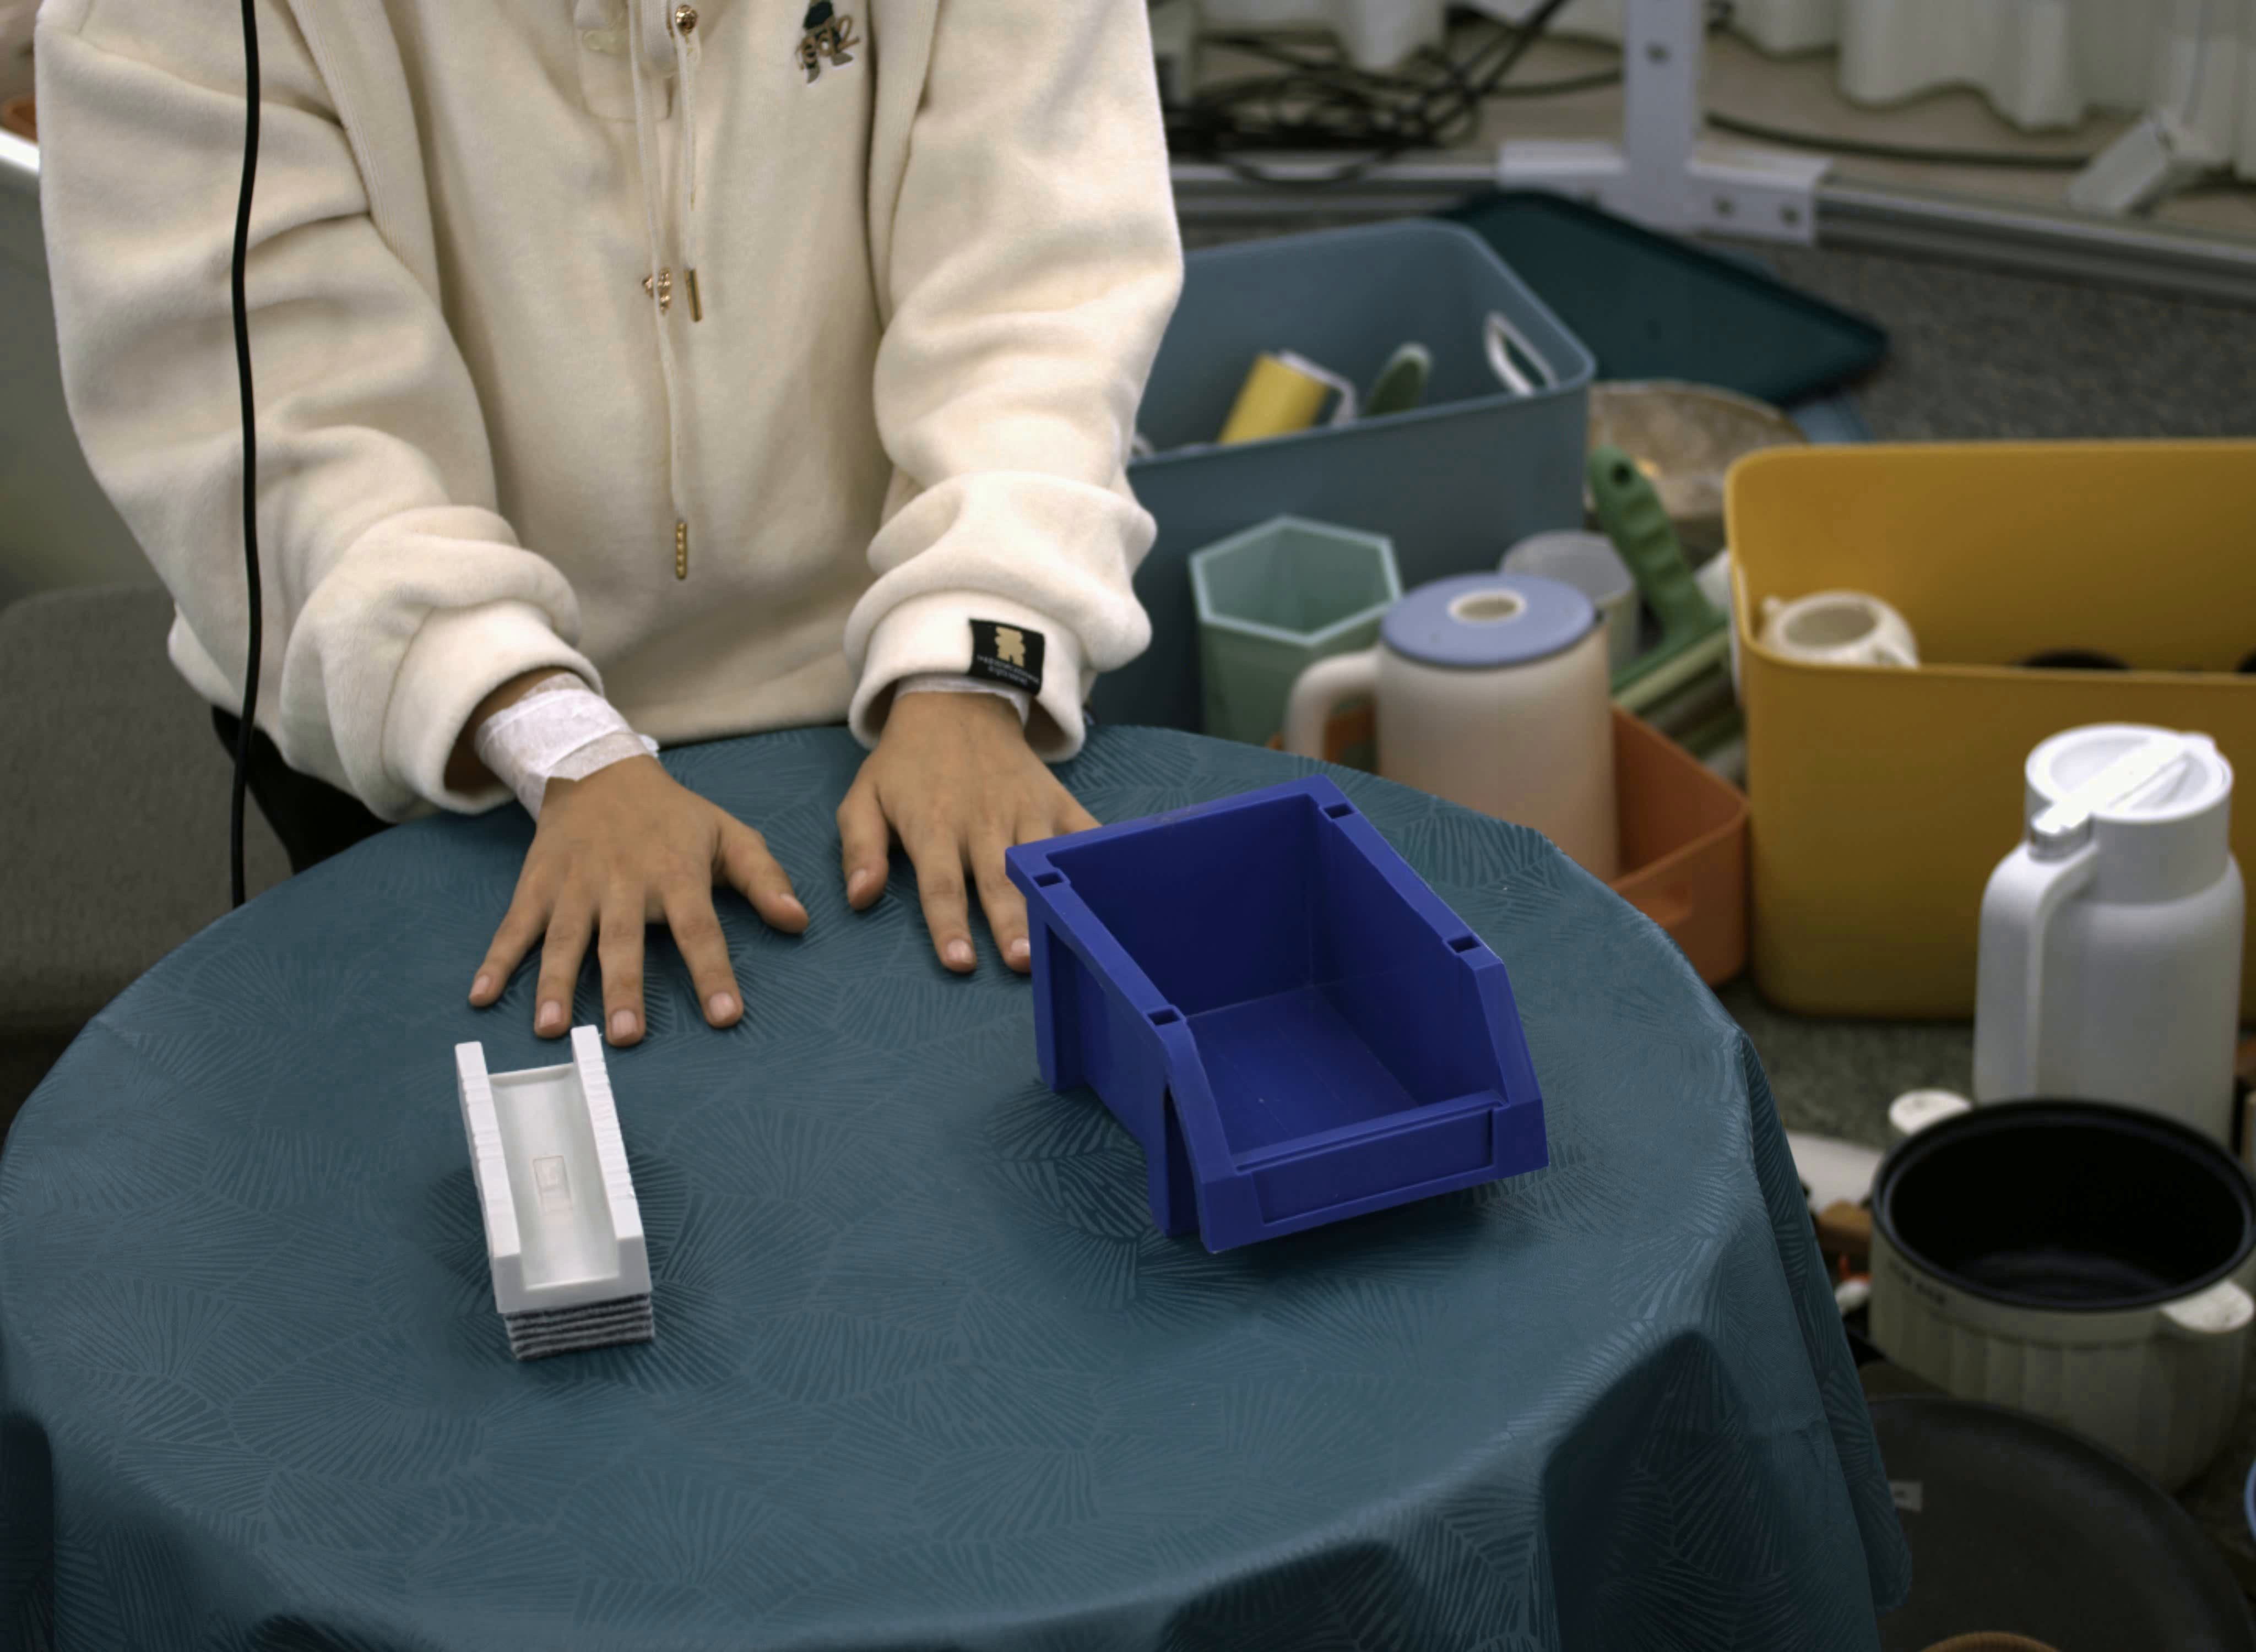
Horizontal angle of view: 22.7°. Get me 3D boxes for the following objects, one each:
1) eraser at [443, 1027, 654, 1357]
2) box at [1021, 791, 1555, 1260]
[{"bbox_3d":[-0.190,0.119,1.834,0.050,0.046,0.136,-11,30,-10],"label":"eraser"},{"bbox_3d":[0.053,0.070,1.867,0.125,0.081,0.181,-12,26,-16],"label":"box"}]
